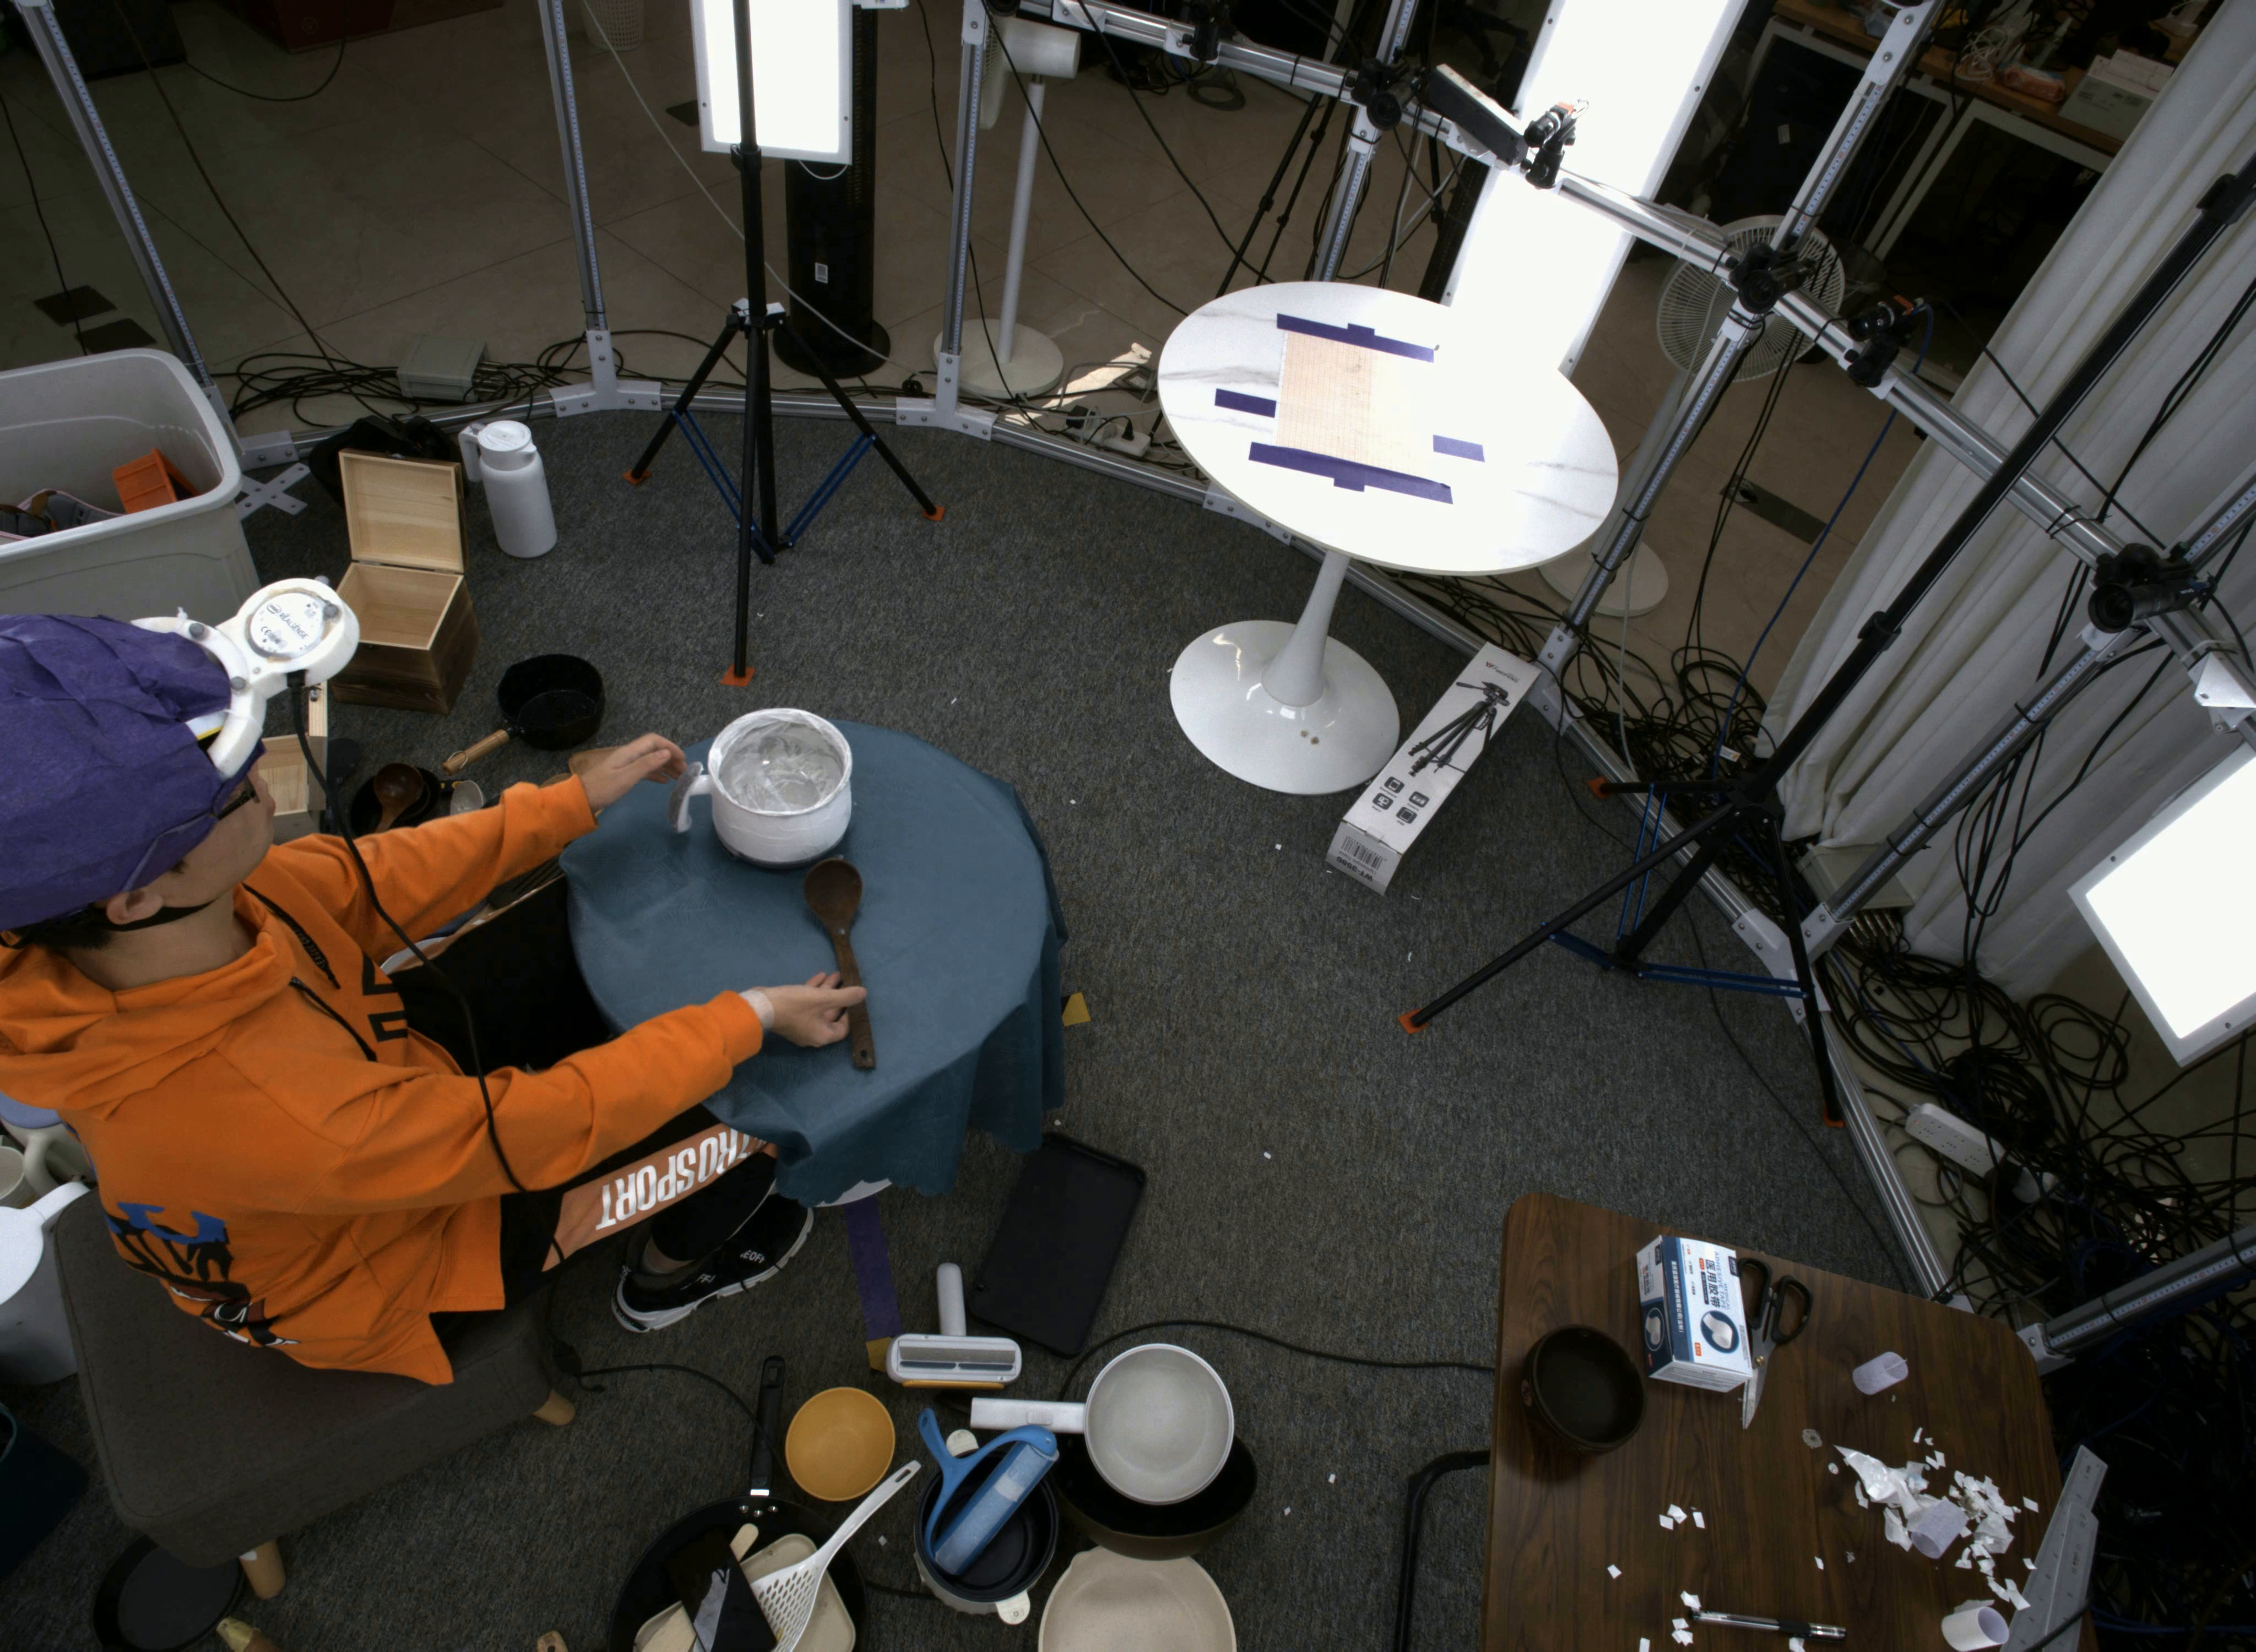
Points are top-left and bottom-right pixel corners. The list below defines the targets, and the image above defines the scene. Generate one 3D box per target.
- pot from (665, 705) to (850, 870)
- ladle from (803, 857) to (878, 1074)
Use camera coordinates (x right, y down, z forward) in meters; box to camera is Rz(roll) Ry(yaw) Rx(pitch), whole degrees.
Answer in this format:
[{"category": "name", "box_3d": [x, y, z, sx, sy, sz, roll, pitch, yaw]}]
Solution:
[{"category": "pot", "box_3d": [-0.471, -0.042, 1.644, 0.235, 0.139, 0.174, -7, 54, -20]}, {"category": "ladle", "box_3d": [-0.339, 0.160, 1.571, 0.076, 0.073, 0.267, -8, 55, -18]}]
